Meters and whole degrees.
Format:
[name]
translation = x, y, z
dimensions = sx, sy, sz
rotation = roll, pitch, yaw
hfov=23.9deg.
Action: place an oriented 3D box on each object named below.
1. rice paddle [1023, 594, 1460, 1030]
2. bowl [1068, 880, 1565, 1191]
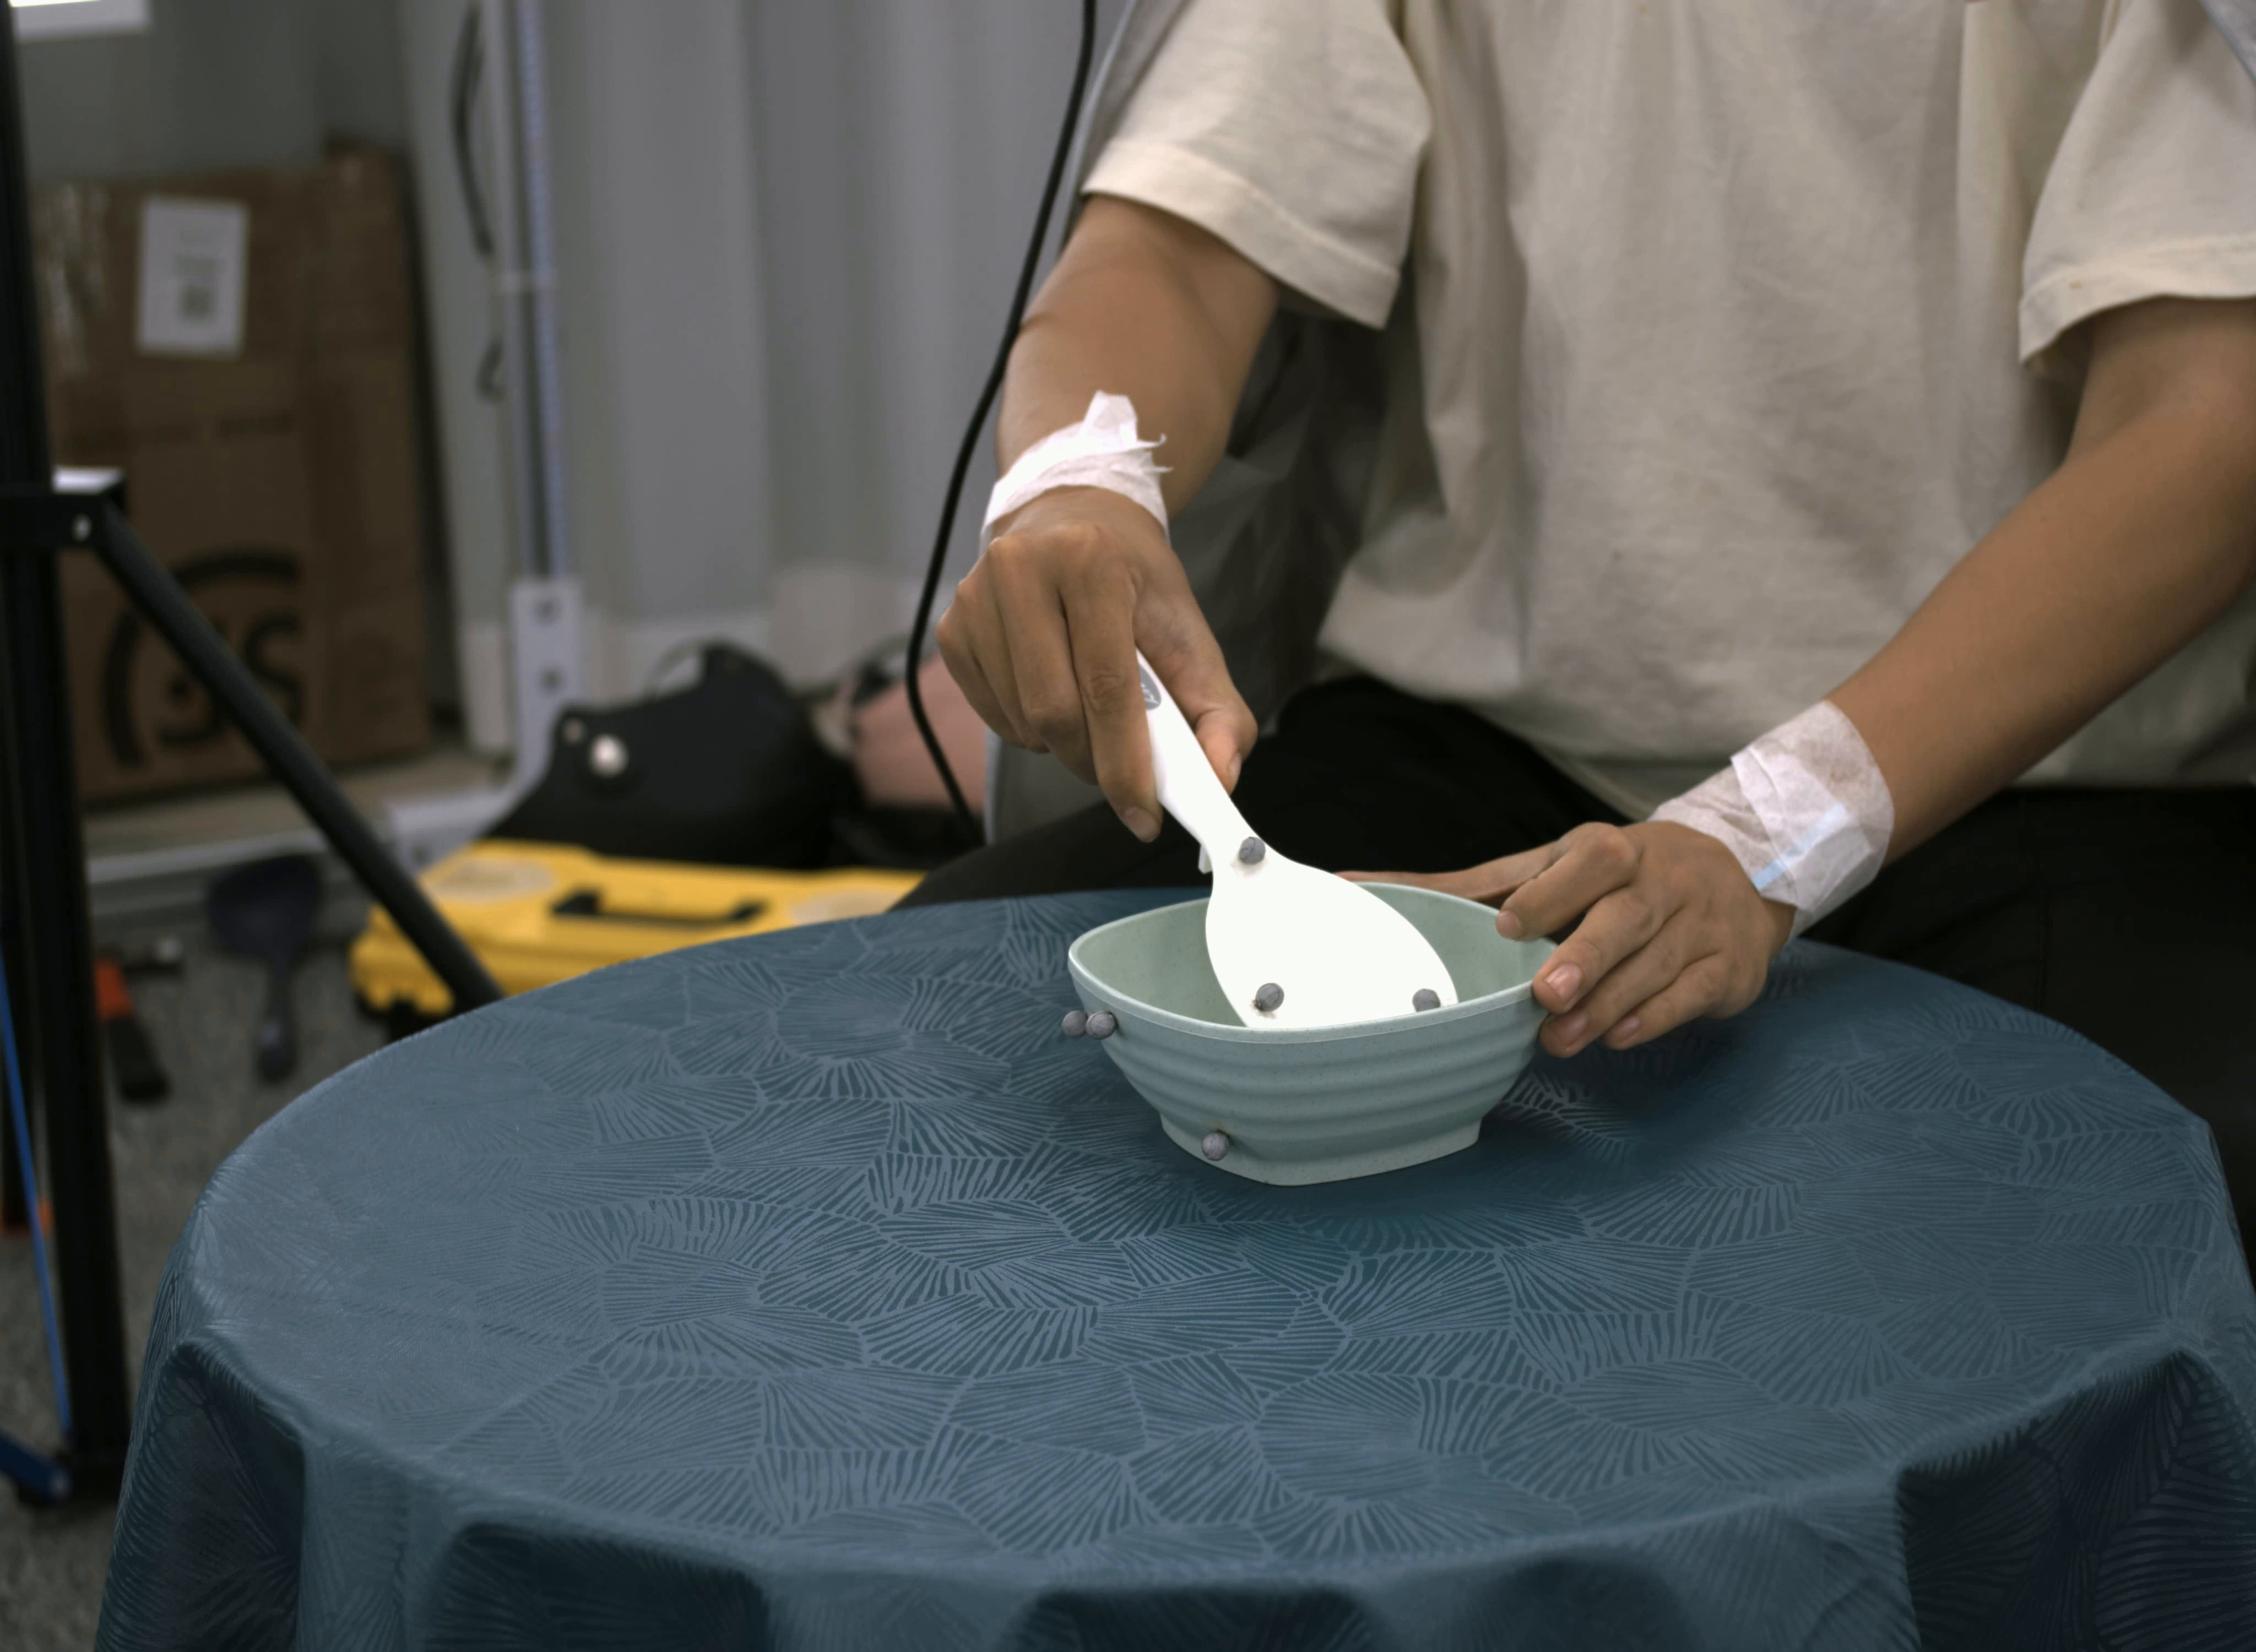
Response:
[rice paddle]
translation = 0.033, 0.006, 1.626
dimensions = 0.067, 0.029, 0.209
rotation = -21, 53, -24
[bowl]
translation = 0.058, 0.066, 1.592
dimensions = 0.151, 0.058, 0.152
rotation = -5, 16, 0
